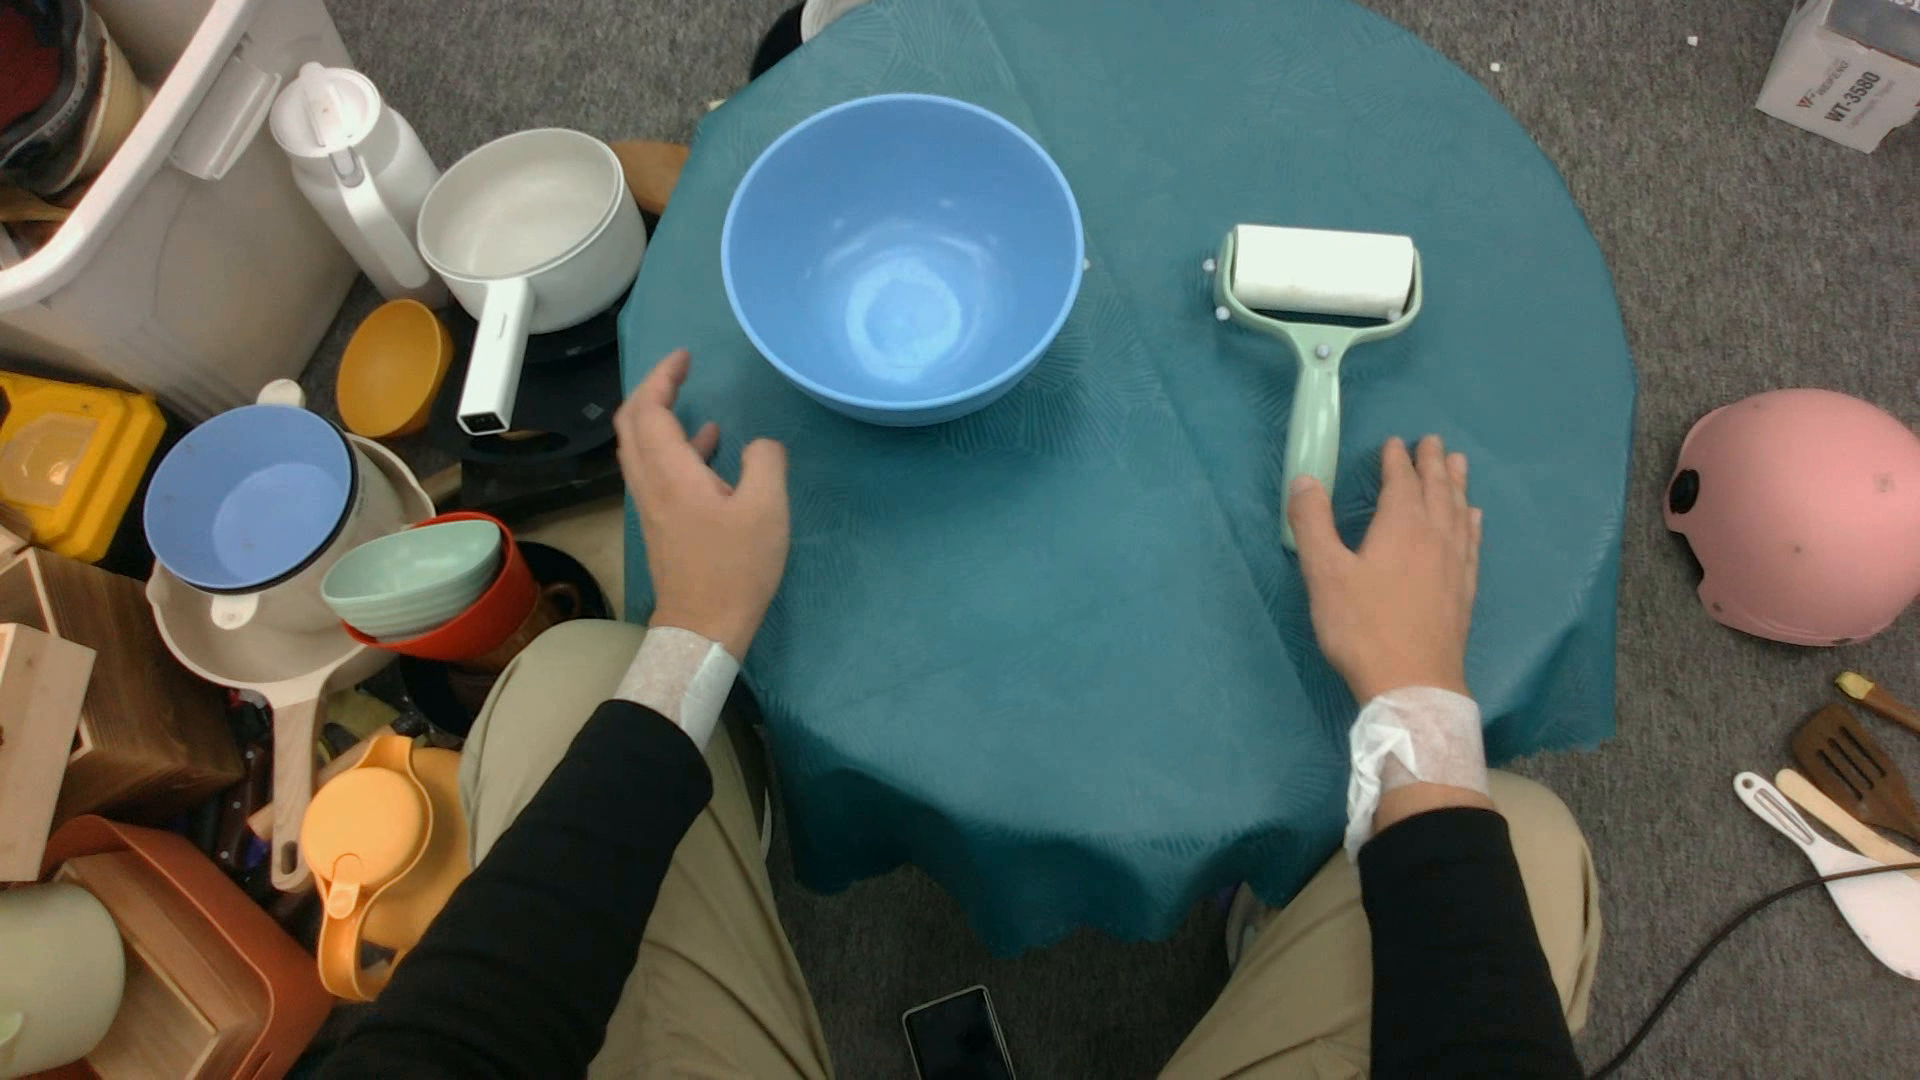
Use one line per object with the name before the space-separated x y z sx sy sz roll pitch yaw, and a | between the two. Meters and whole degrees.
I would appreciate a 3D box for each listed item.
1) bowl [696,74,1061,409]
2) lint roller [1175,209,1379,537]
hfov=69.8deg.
bowl | -0.045 -0.154 0.783 0.196 0.095 0.197 1 70 -2
lint roller | 0.181 -0.100 0.794 0.116 0.048 0.198 5 71 -1
